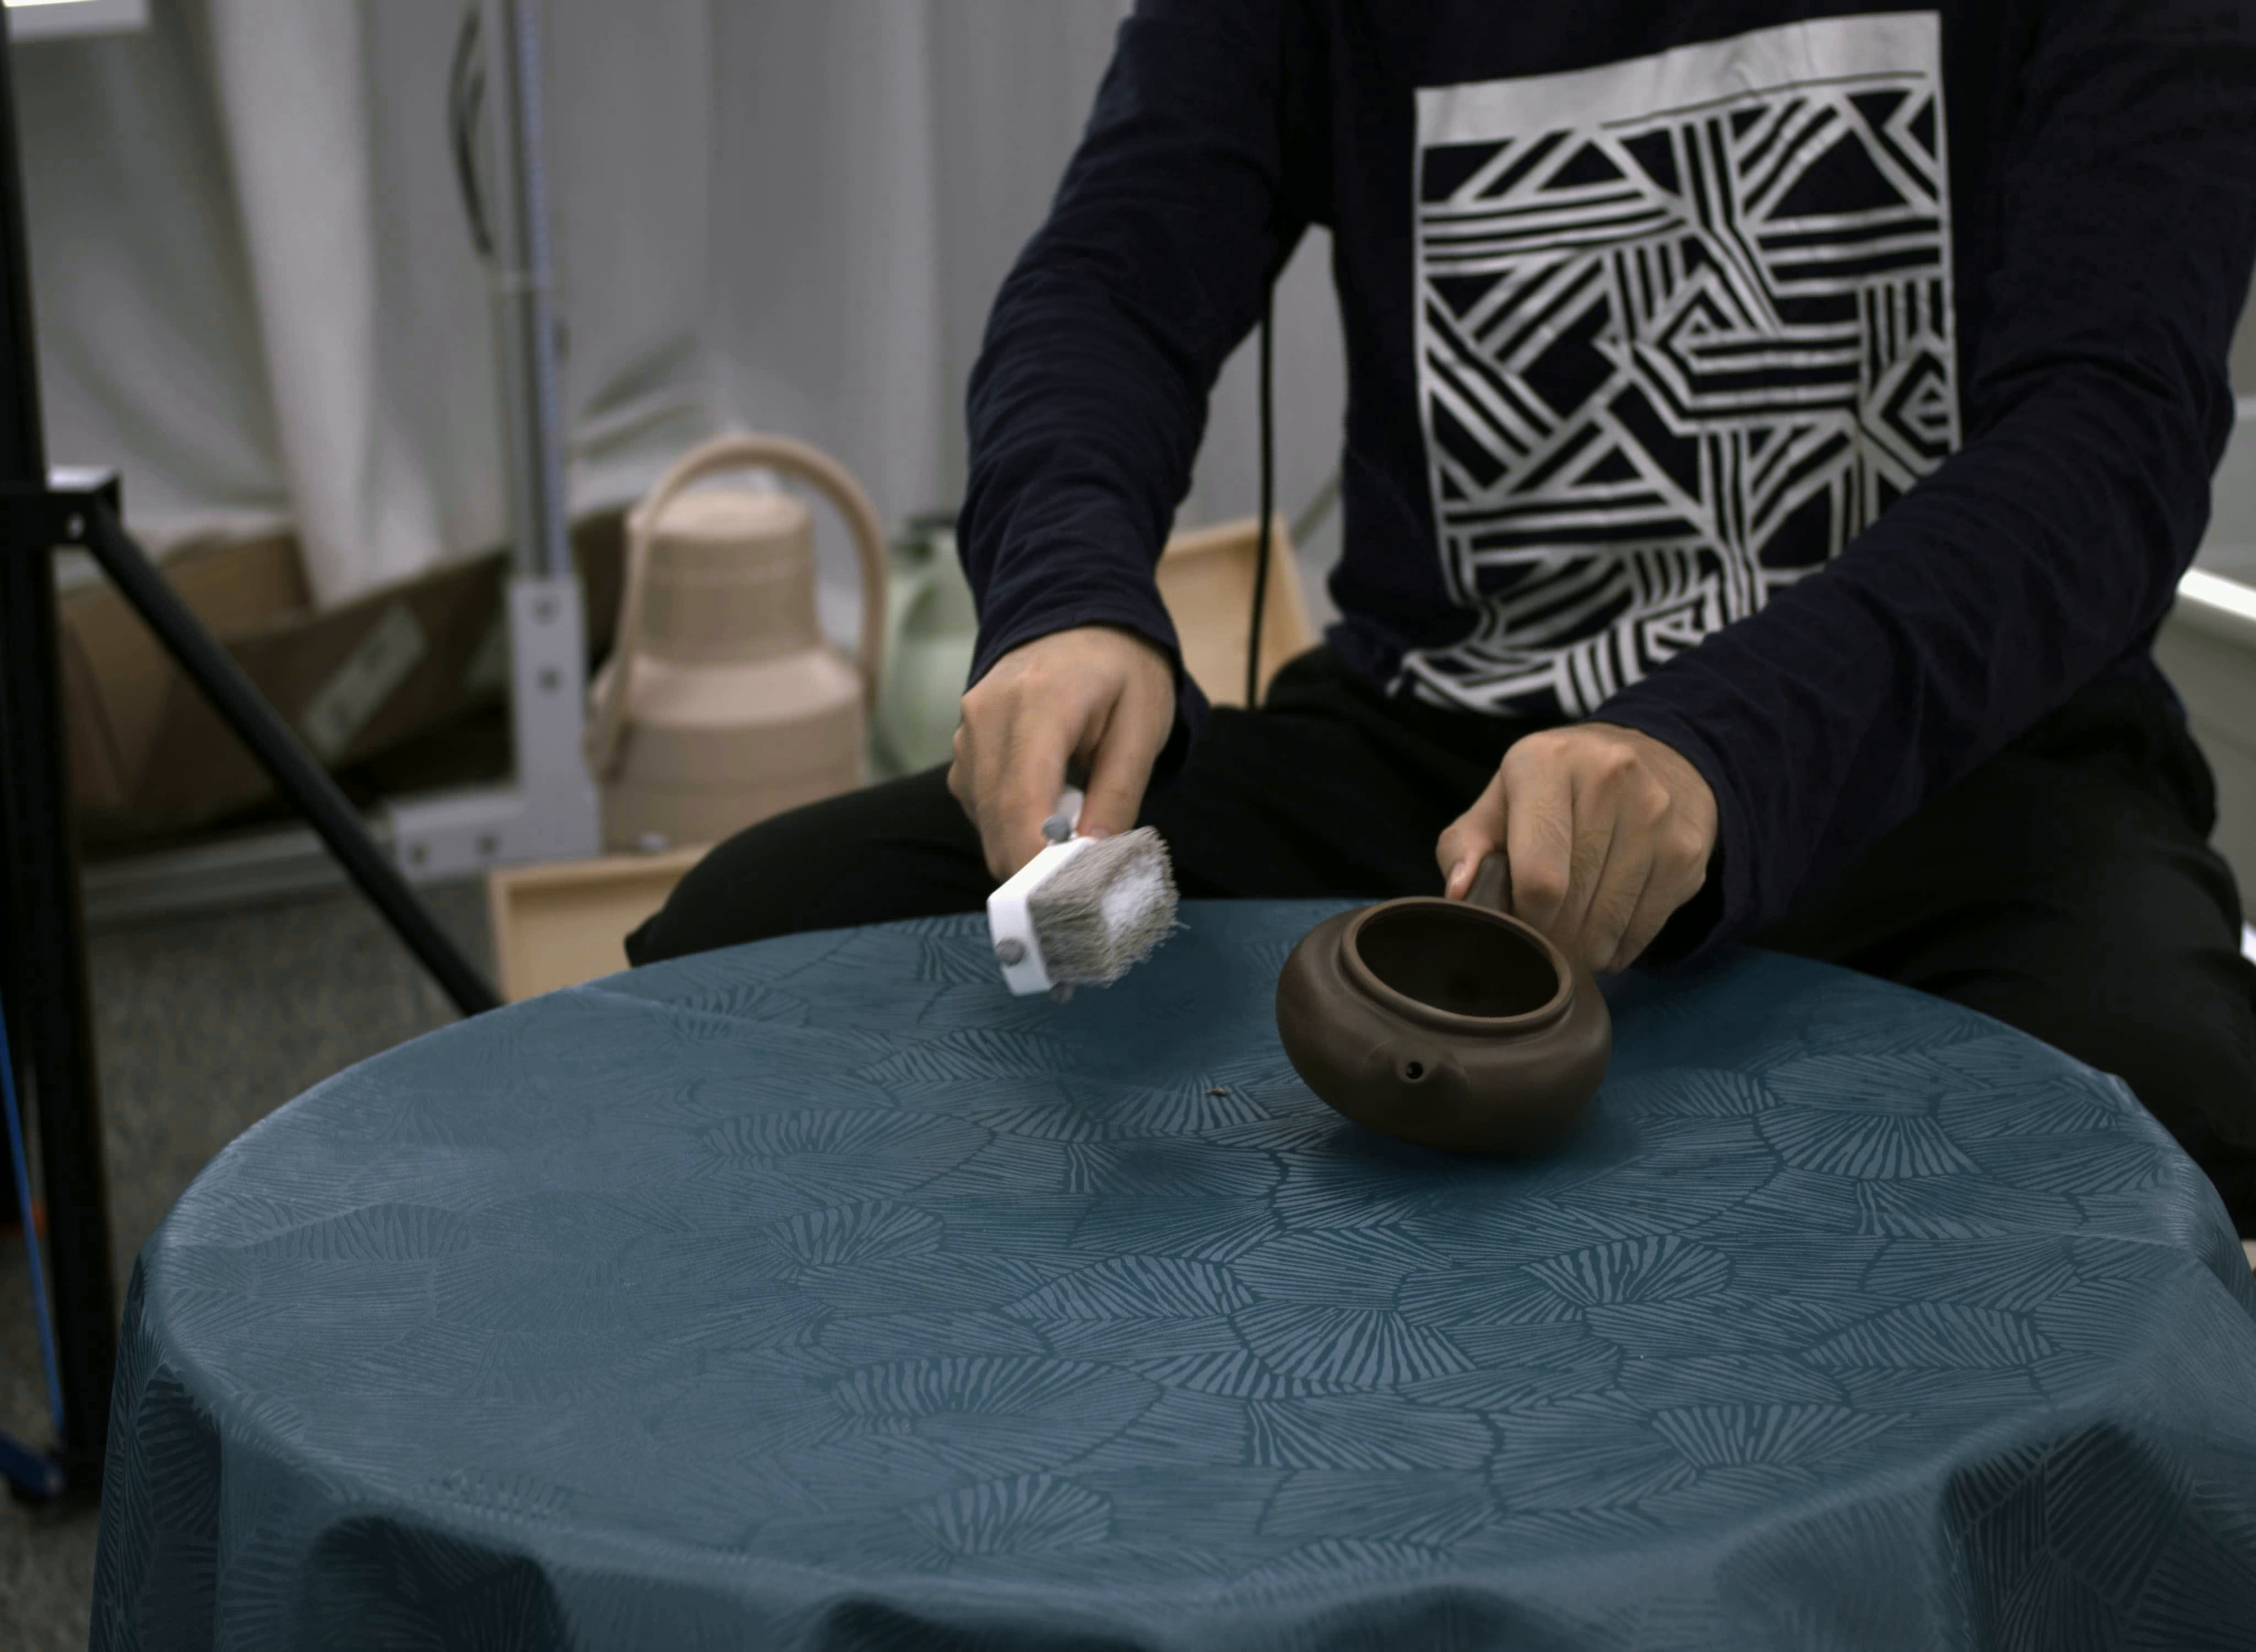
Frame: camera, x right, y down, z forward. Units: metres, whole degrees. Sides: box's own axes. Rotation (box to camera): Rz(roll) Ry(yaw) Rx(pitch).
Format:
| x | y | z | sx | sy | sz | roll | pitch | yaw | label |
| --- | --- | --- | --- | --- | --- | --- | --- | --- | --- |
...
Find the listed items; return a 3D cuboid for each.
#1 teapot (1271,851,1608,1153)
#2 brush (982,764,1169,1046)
| x | y | z | sx | sy | sz | roll | pitch | yaw | label |
| --- | --- | --- | --- | --- | --- | --- | --- | --- | --- |
| 0.095 | 0.056 | 1.601 | 0.102 | 0.054 | 0.153 | 12 | 30 | 4 | teapot |
| -0.007 | 0.017 | 1.673 | 0.050 | 0.034 | 0.243 | -14 | 14 | 9 | brush |
